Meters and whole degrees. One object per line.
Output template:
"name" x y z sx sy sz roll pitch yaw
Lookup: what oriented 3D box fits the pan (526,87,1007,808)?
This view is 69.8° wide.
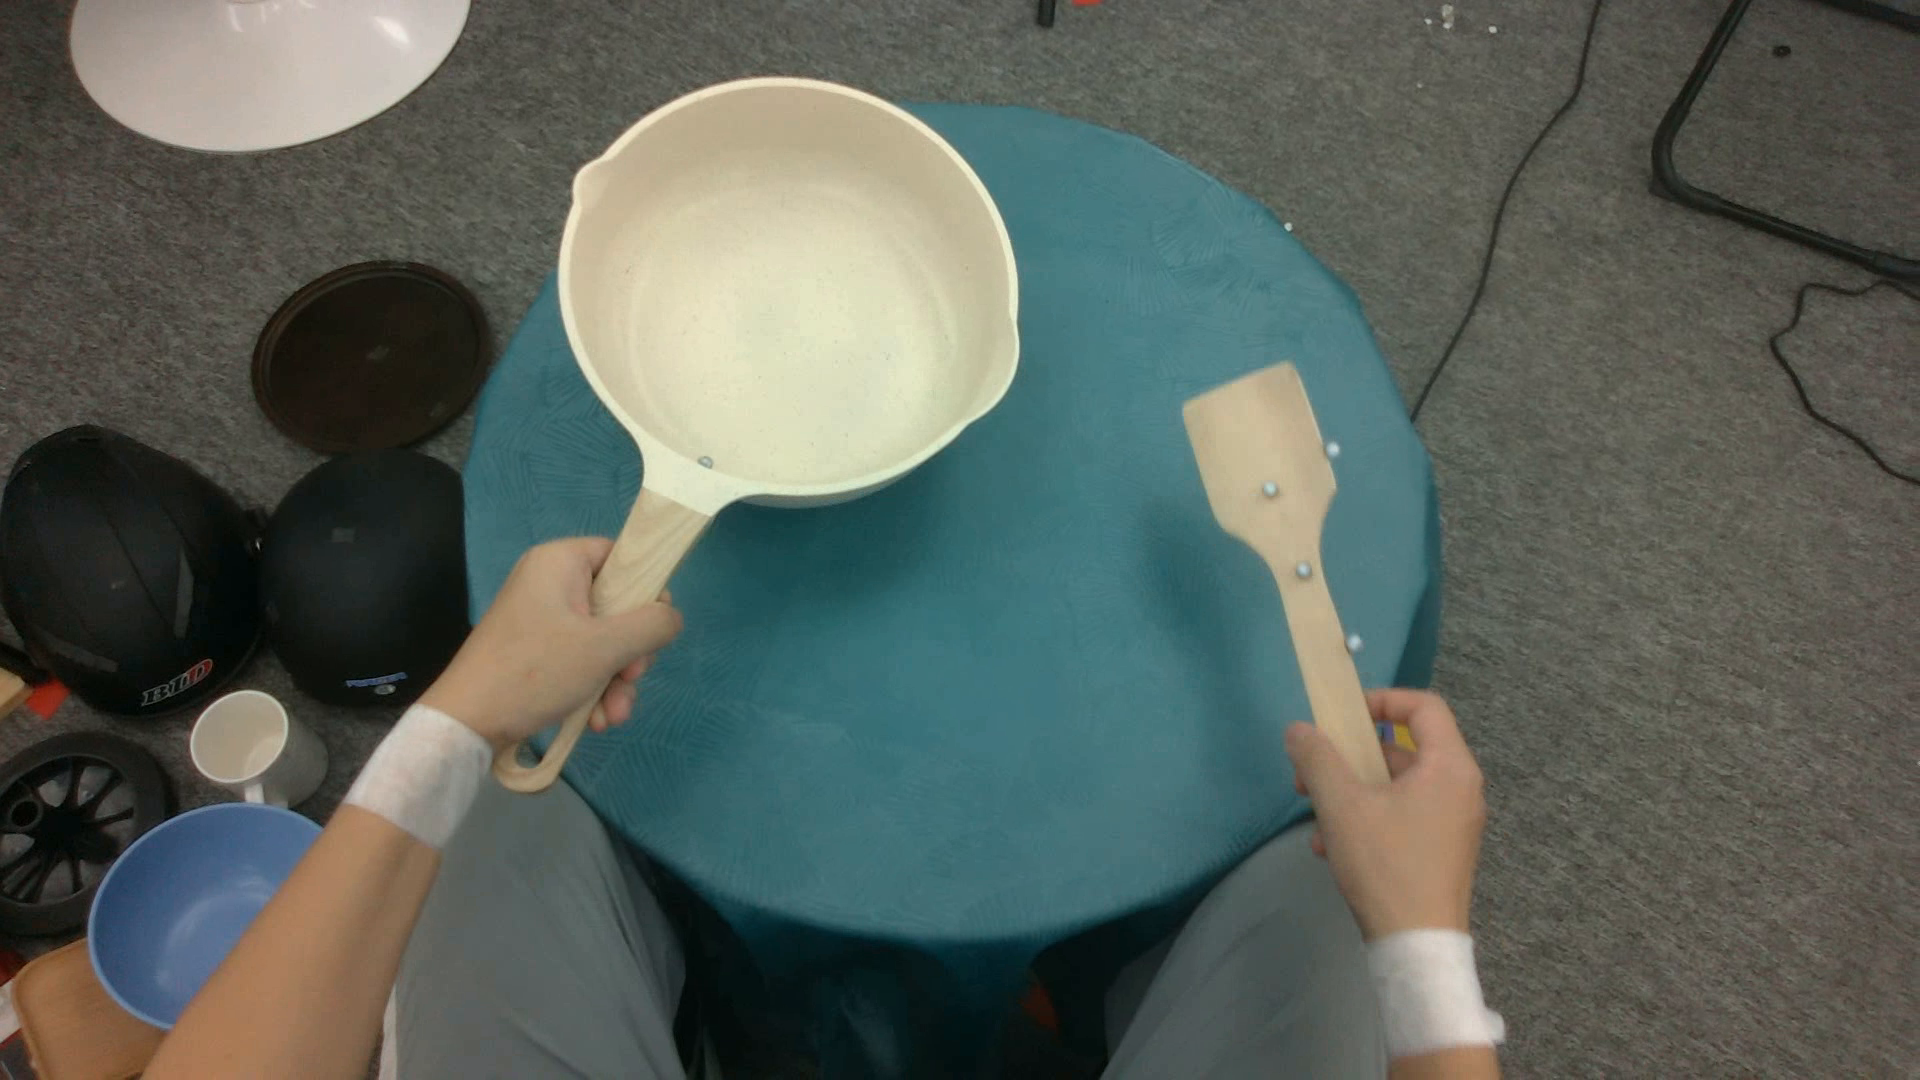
"pan" -0.135 -0.054 0.778 0.263 0.101 0.436 22 72 -3

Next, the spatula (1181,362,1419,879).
"spatula" 0.189 0.037 0.744 0.072 0.010 0.294 -22 63 20
